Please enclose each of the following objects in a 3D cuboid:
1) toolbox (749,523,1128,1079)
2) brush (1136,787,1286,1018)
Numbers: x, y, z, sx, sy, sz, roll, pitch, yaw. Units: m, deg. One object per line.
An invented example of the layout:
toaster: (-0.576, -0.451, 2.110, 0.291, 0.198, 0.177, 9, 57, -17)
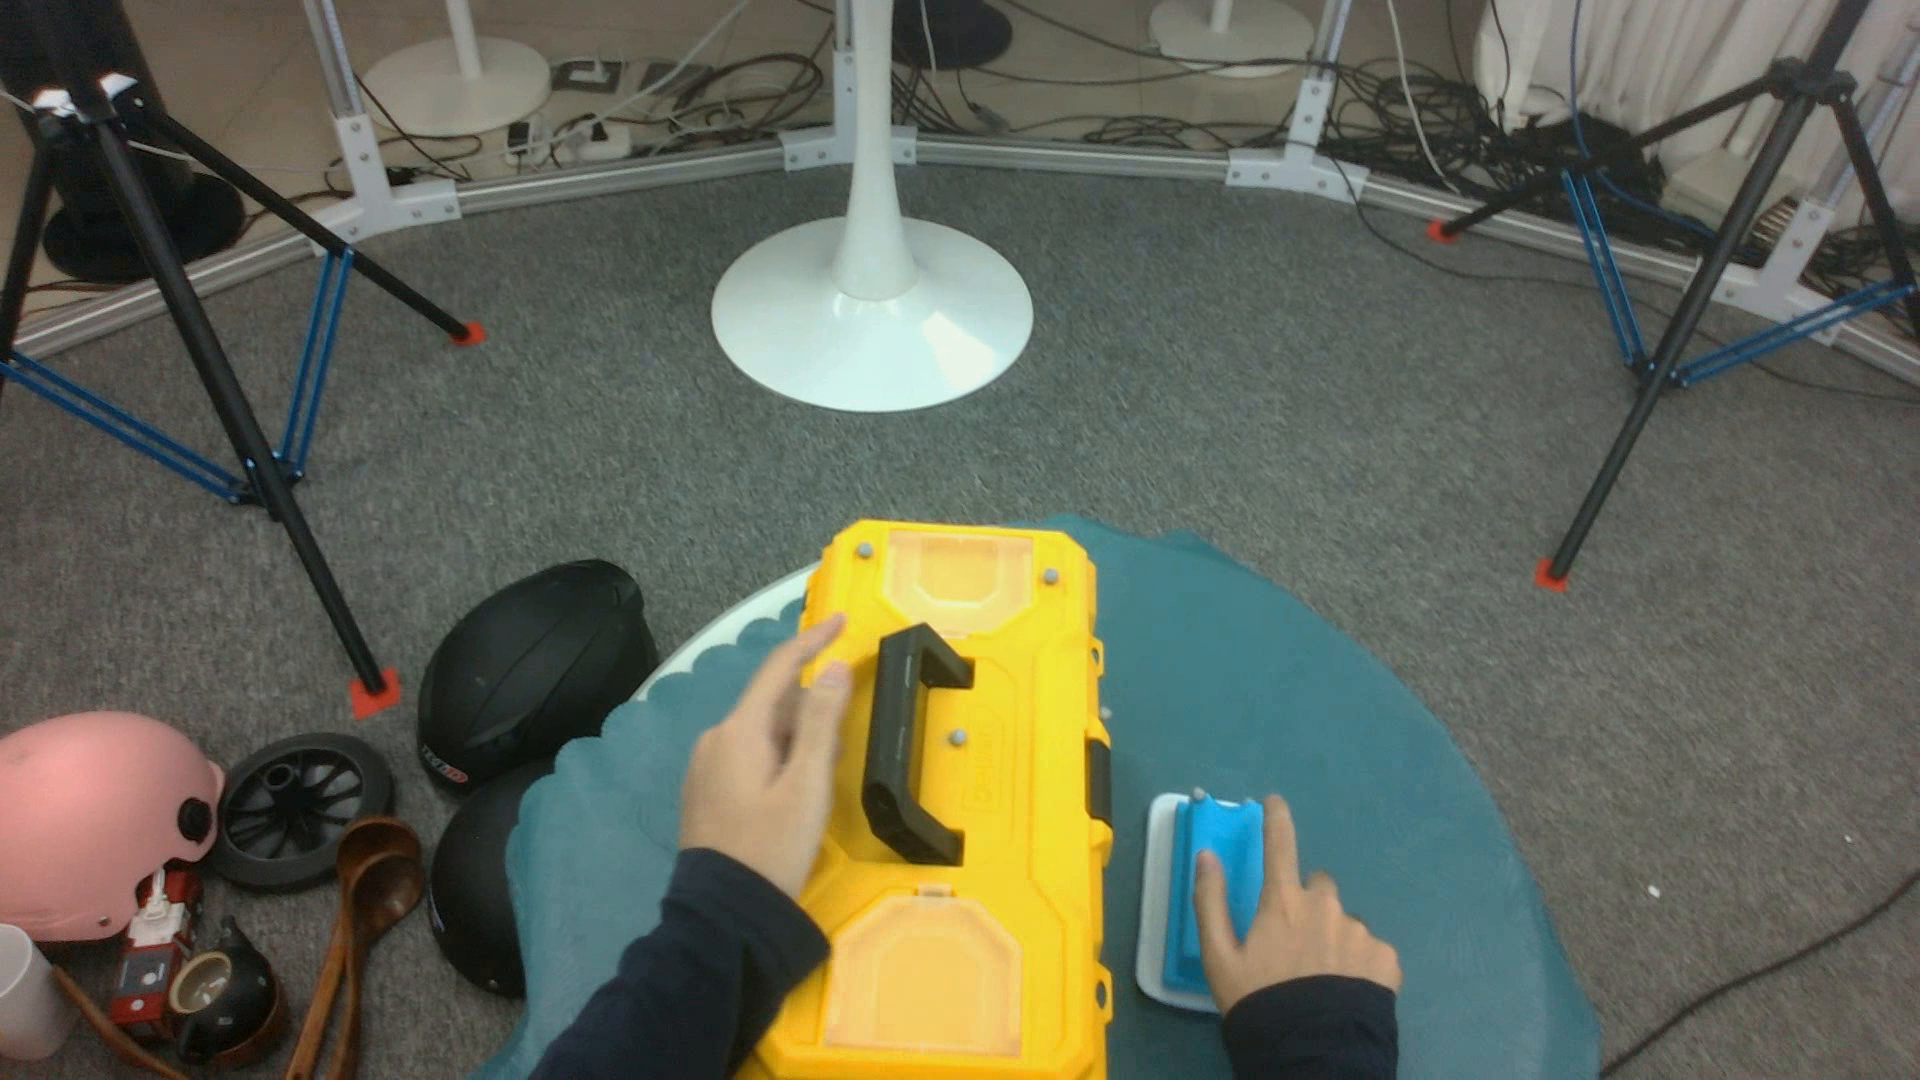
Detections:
toolbox: (-0.009, 0.165, 0.762, 0.181, 0.172, 0.353, 2, 47, 0)
brush: (0.151, 0.204, 0.810, 0.084, 0.055, 0.145, 7, 45, 8)
